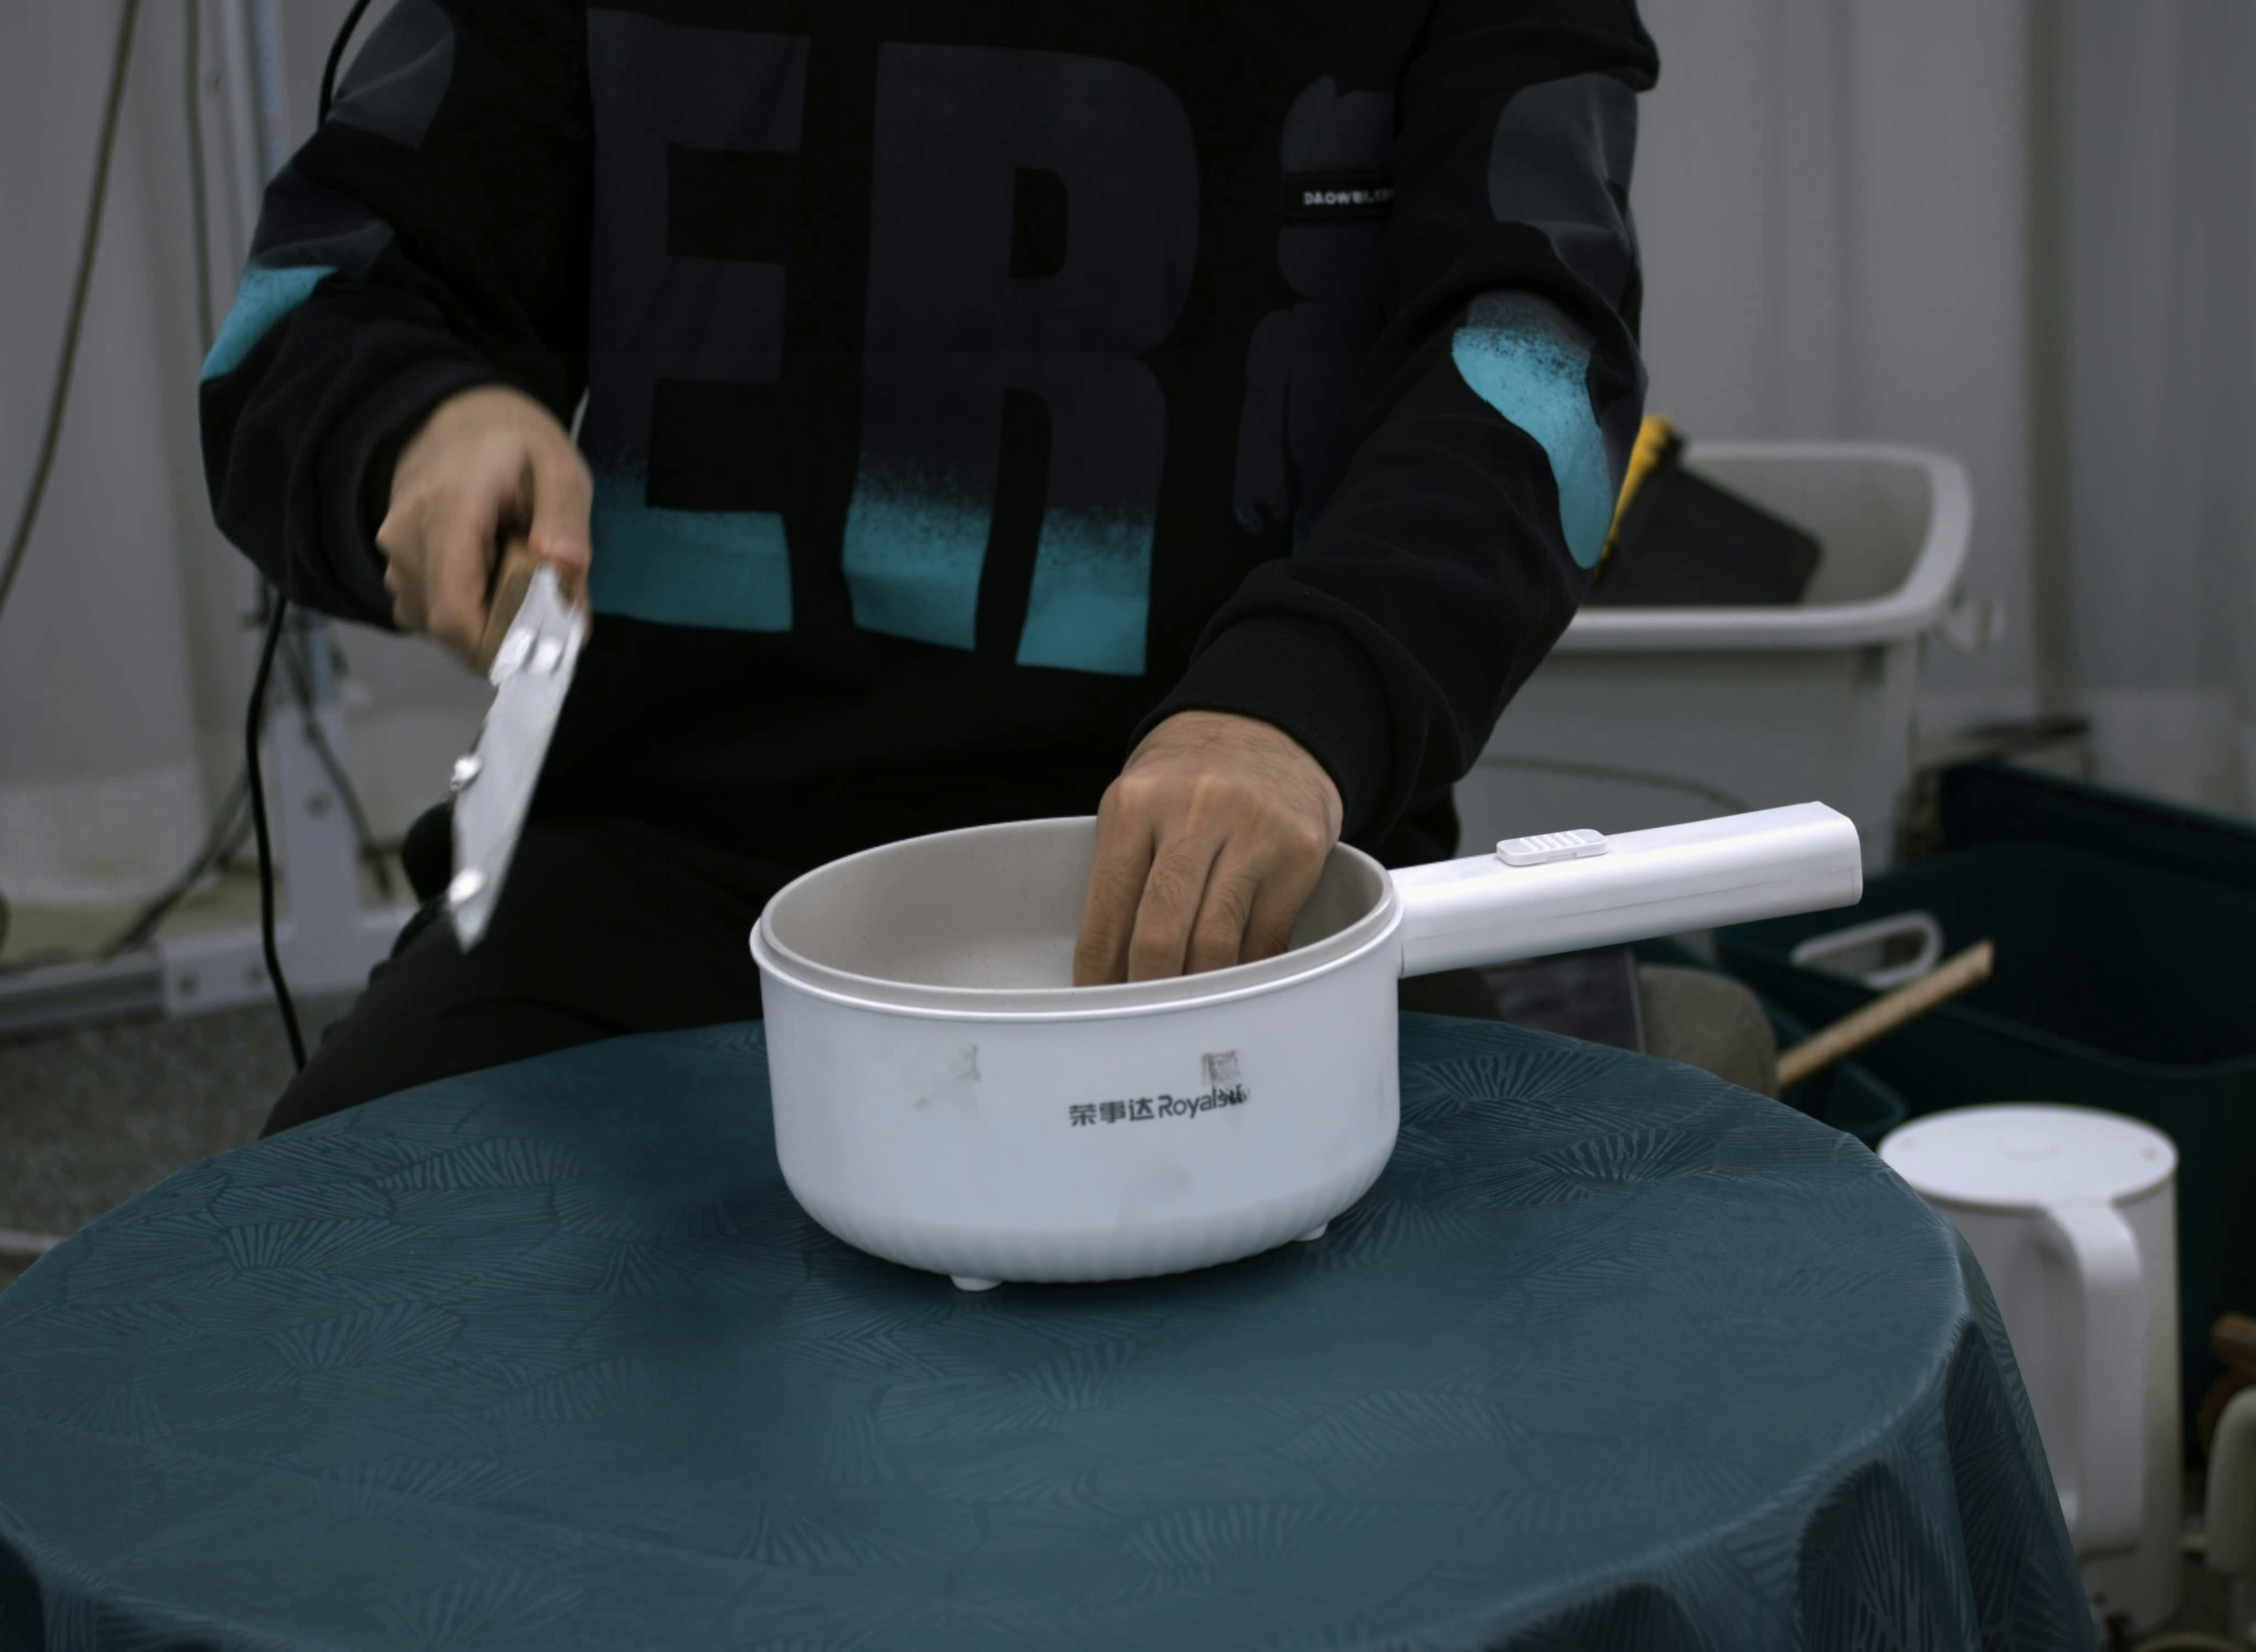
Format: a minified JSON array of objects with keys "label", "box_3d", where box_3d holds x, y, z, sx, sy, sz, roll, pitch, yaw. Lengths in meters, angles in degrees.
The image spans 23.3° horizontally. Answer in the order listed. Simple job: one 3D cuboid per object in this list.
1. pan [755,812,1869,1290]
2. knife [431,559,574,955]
[{"label":"pan","box_3d":[0.061,0.063,1.708,0.353,0.102,0.203,-7,14,-16]},{"label":"knife","box_3d":[-0.195,-0.037,1.698,0.021,0.114,0.318,22,11,-11]}]
